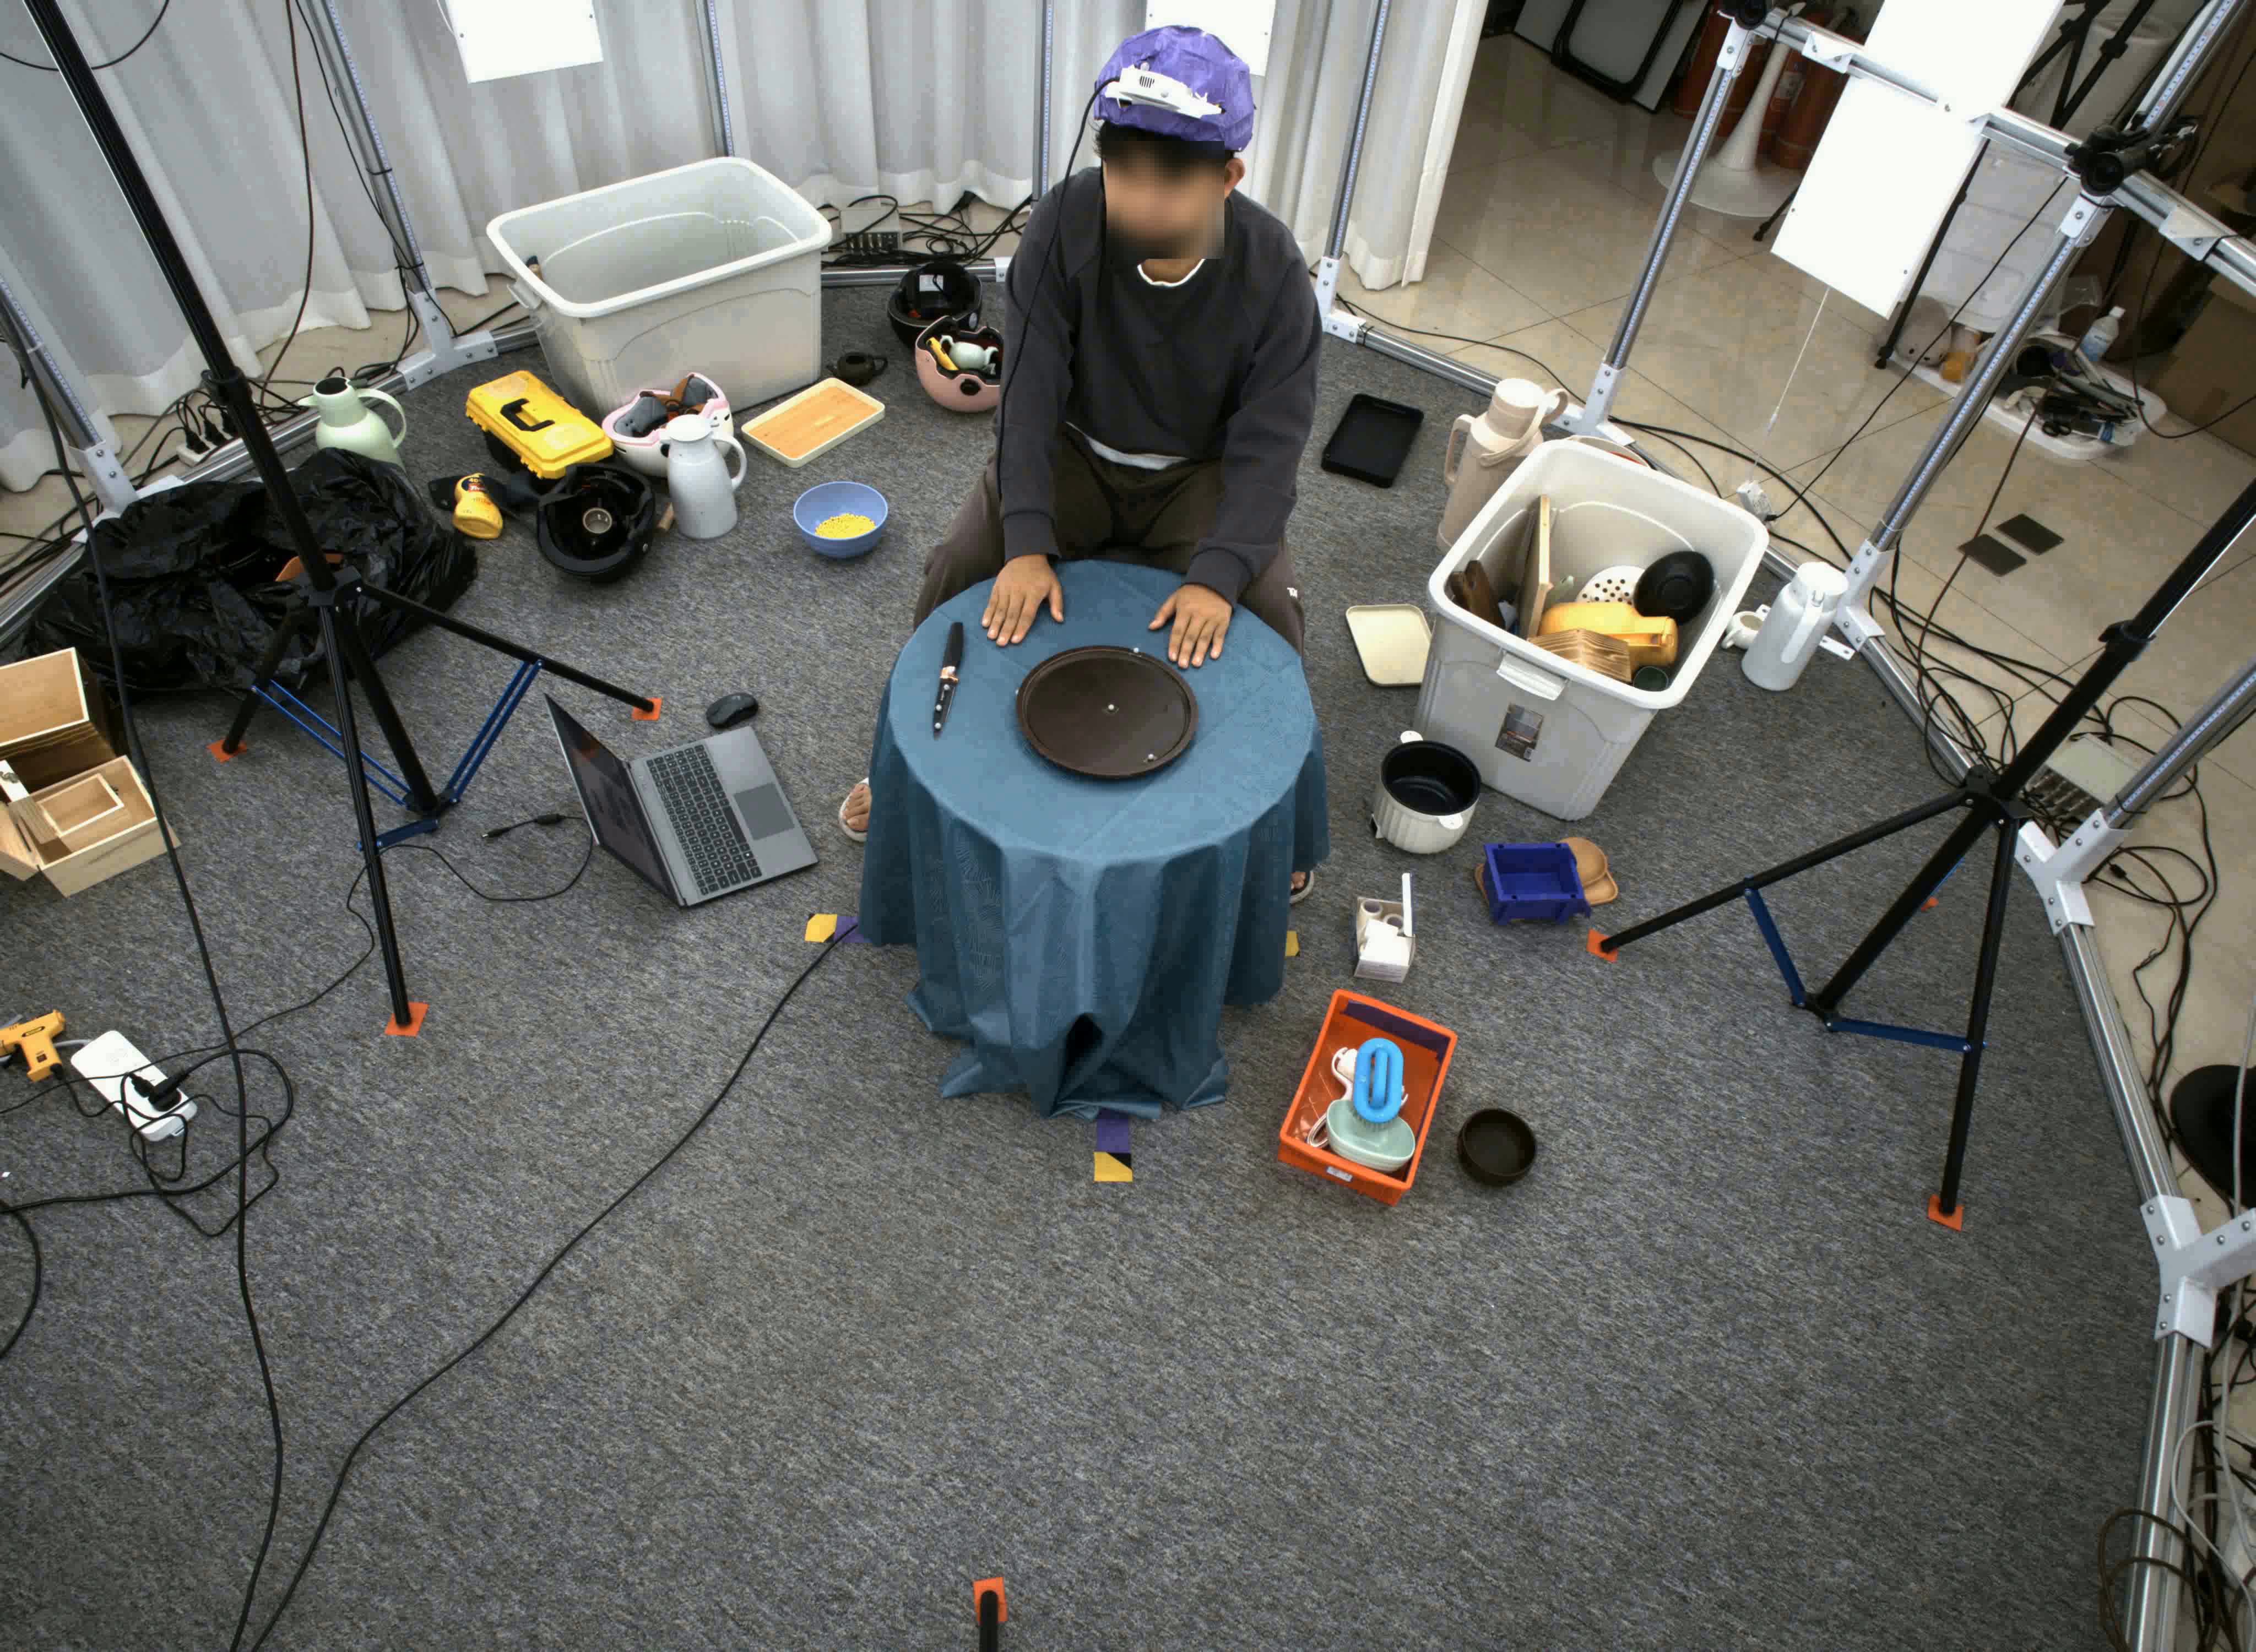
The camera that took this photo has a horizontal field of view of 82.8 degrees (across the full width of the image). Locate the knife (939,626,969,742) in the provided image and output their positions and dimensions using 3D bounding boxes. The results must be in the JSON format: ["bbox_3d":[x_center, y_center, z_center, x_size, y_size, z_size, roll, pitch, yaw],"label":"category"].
[{"bbox_3d":[-0.248,-0.203,1.816,0.026,0.017,0.231,8,49,-4],"label":"knife"}]

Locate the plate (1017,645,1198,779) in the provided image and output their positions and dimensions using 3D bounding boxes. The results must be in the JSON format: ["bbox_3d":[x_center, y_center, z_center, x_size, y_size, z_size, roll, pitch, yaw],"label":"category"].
[{"bbox_3d":[-0.028,-0.160,1.787,0.254,0.028,0.261,2,48,-2],"label":"plate"}]
